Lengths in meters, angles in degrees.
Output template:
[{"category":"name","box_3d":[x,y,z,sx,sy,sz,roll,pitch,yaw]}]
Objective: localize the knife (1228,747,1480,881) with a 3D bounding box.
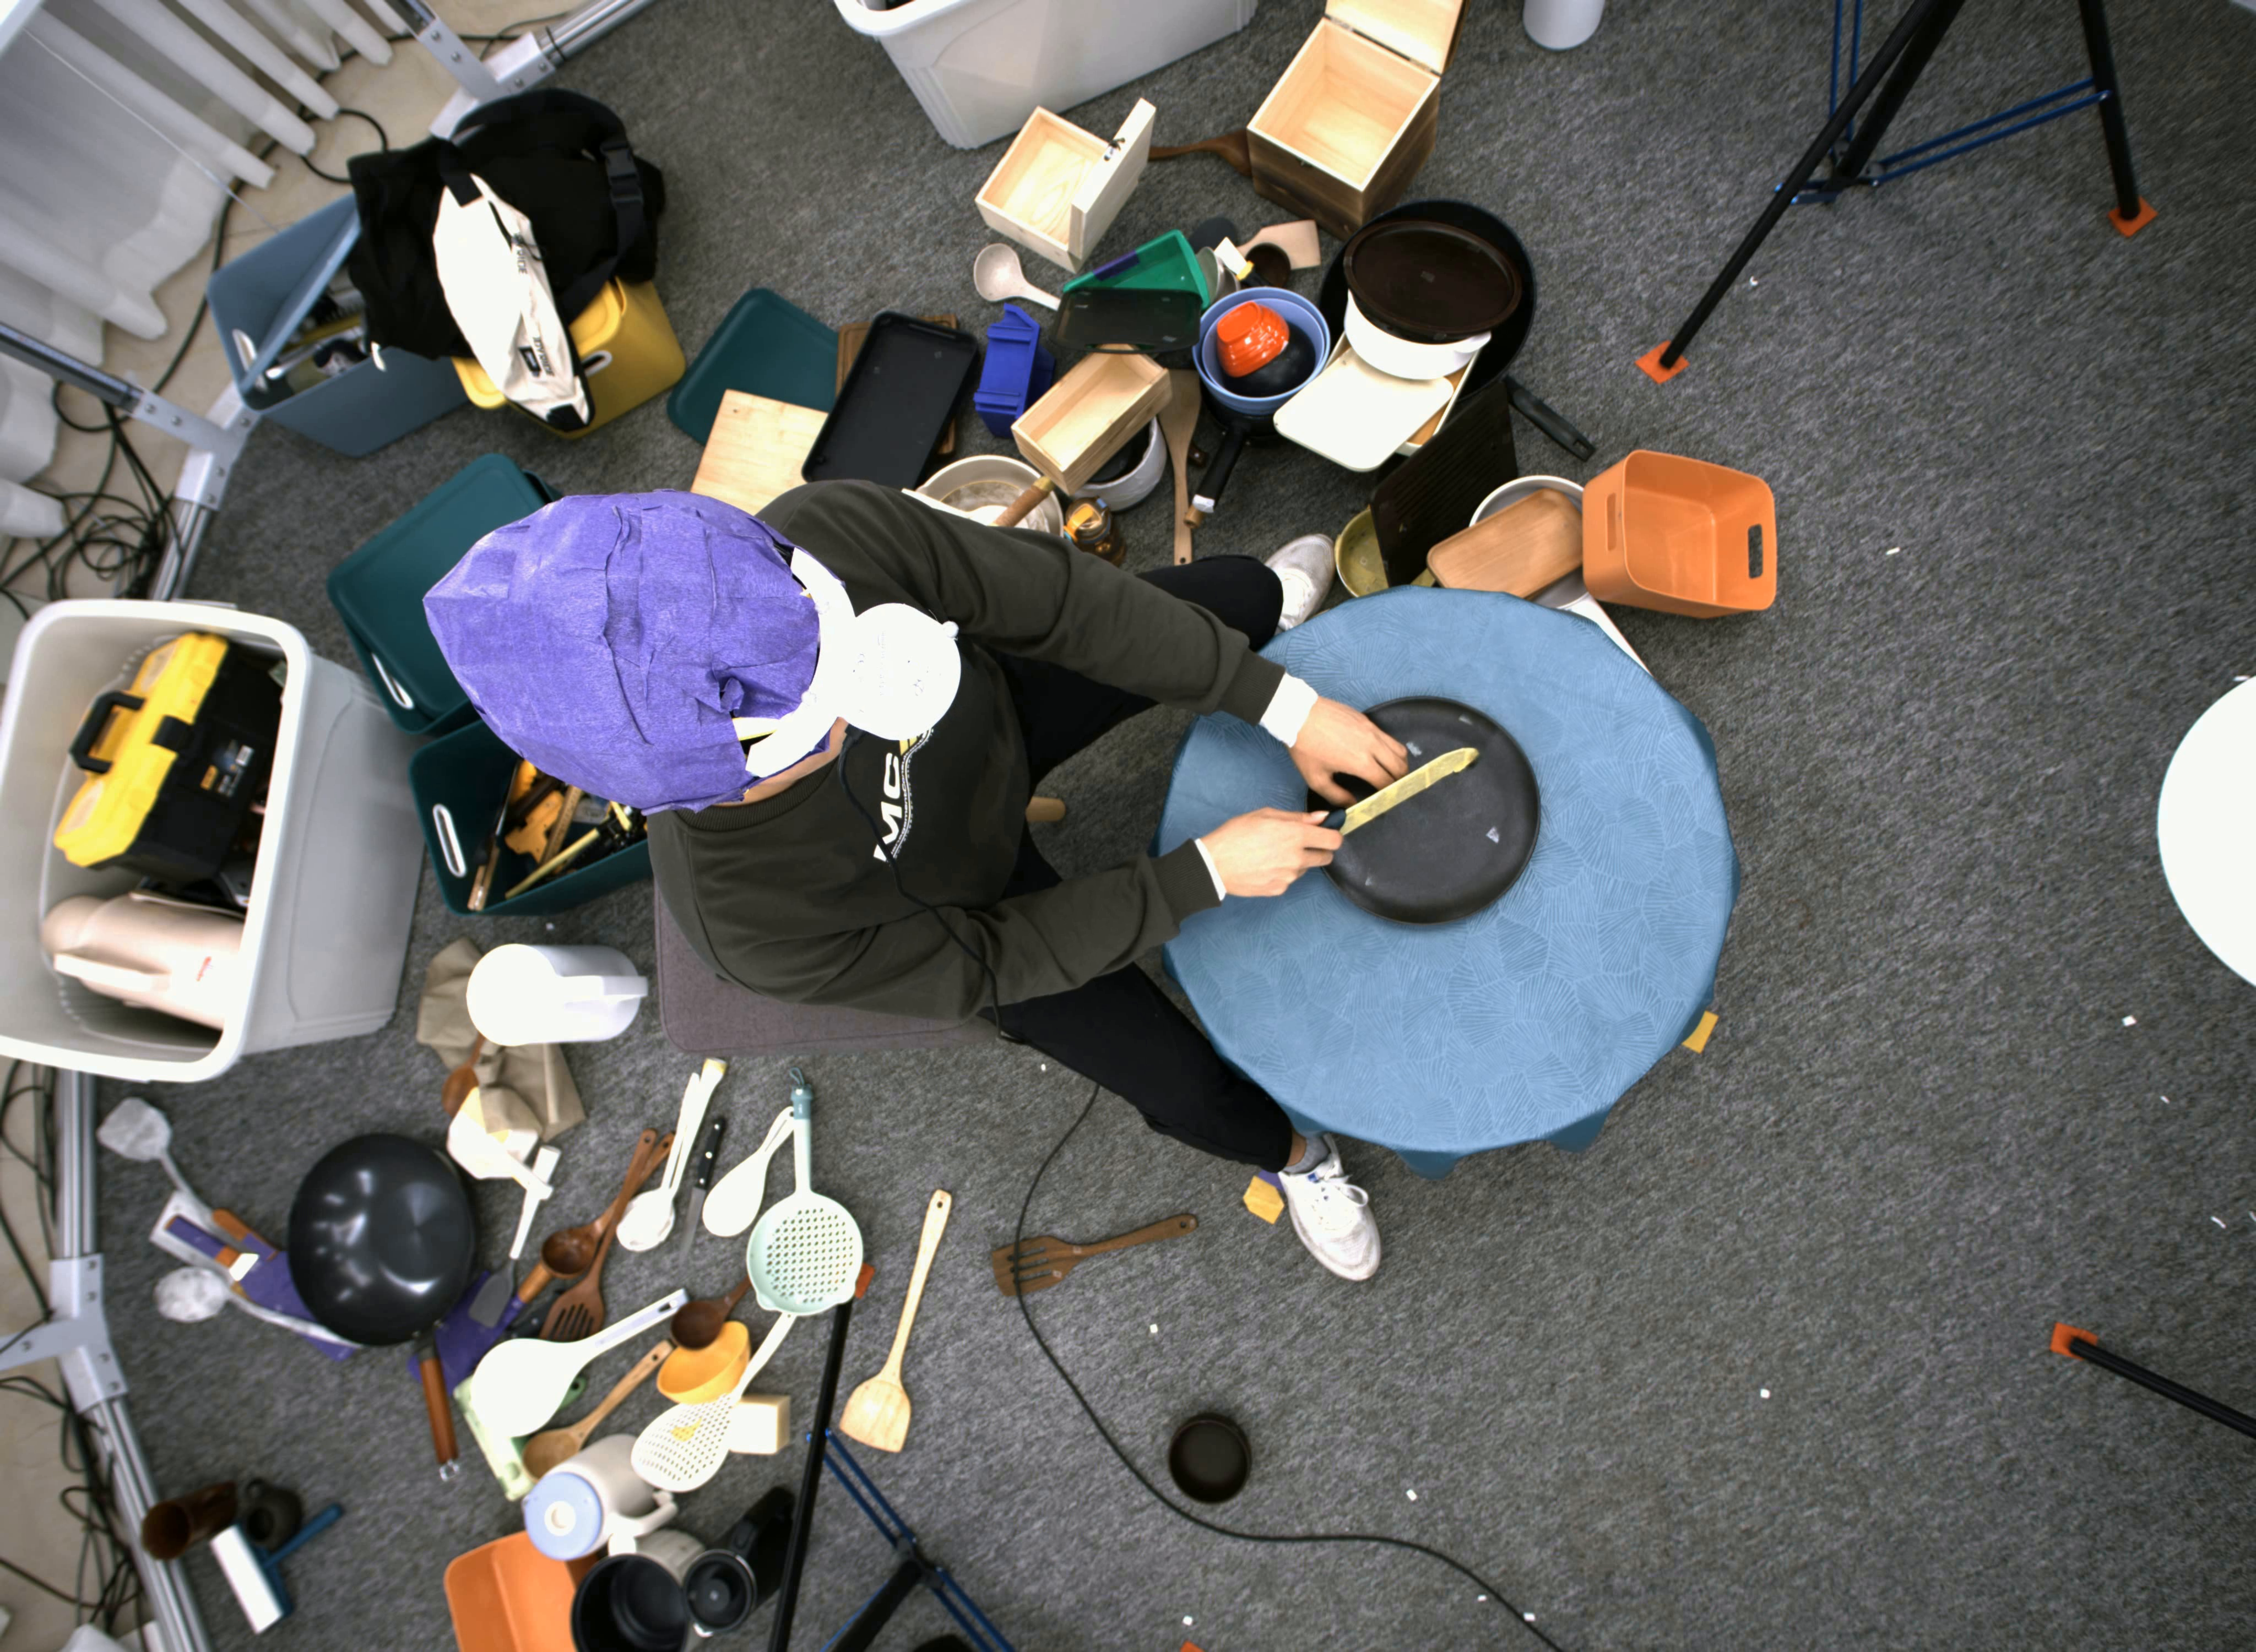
[{"category":"knife","box_3d":[0.235,-0.014,1.422,0.290,0.082,0.027,-27,68,4]}]

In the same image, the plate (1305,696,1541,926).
[{"category":"plate","box_3d":[0.308,-0.017,1.446,0.245,0.023,0.243,-1,86,11]}]
